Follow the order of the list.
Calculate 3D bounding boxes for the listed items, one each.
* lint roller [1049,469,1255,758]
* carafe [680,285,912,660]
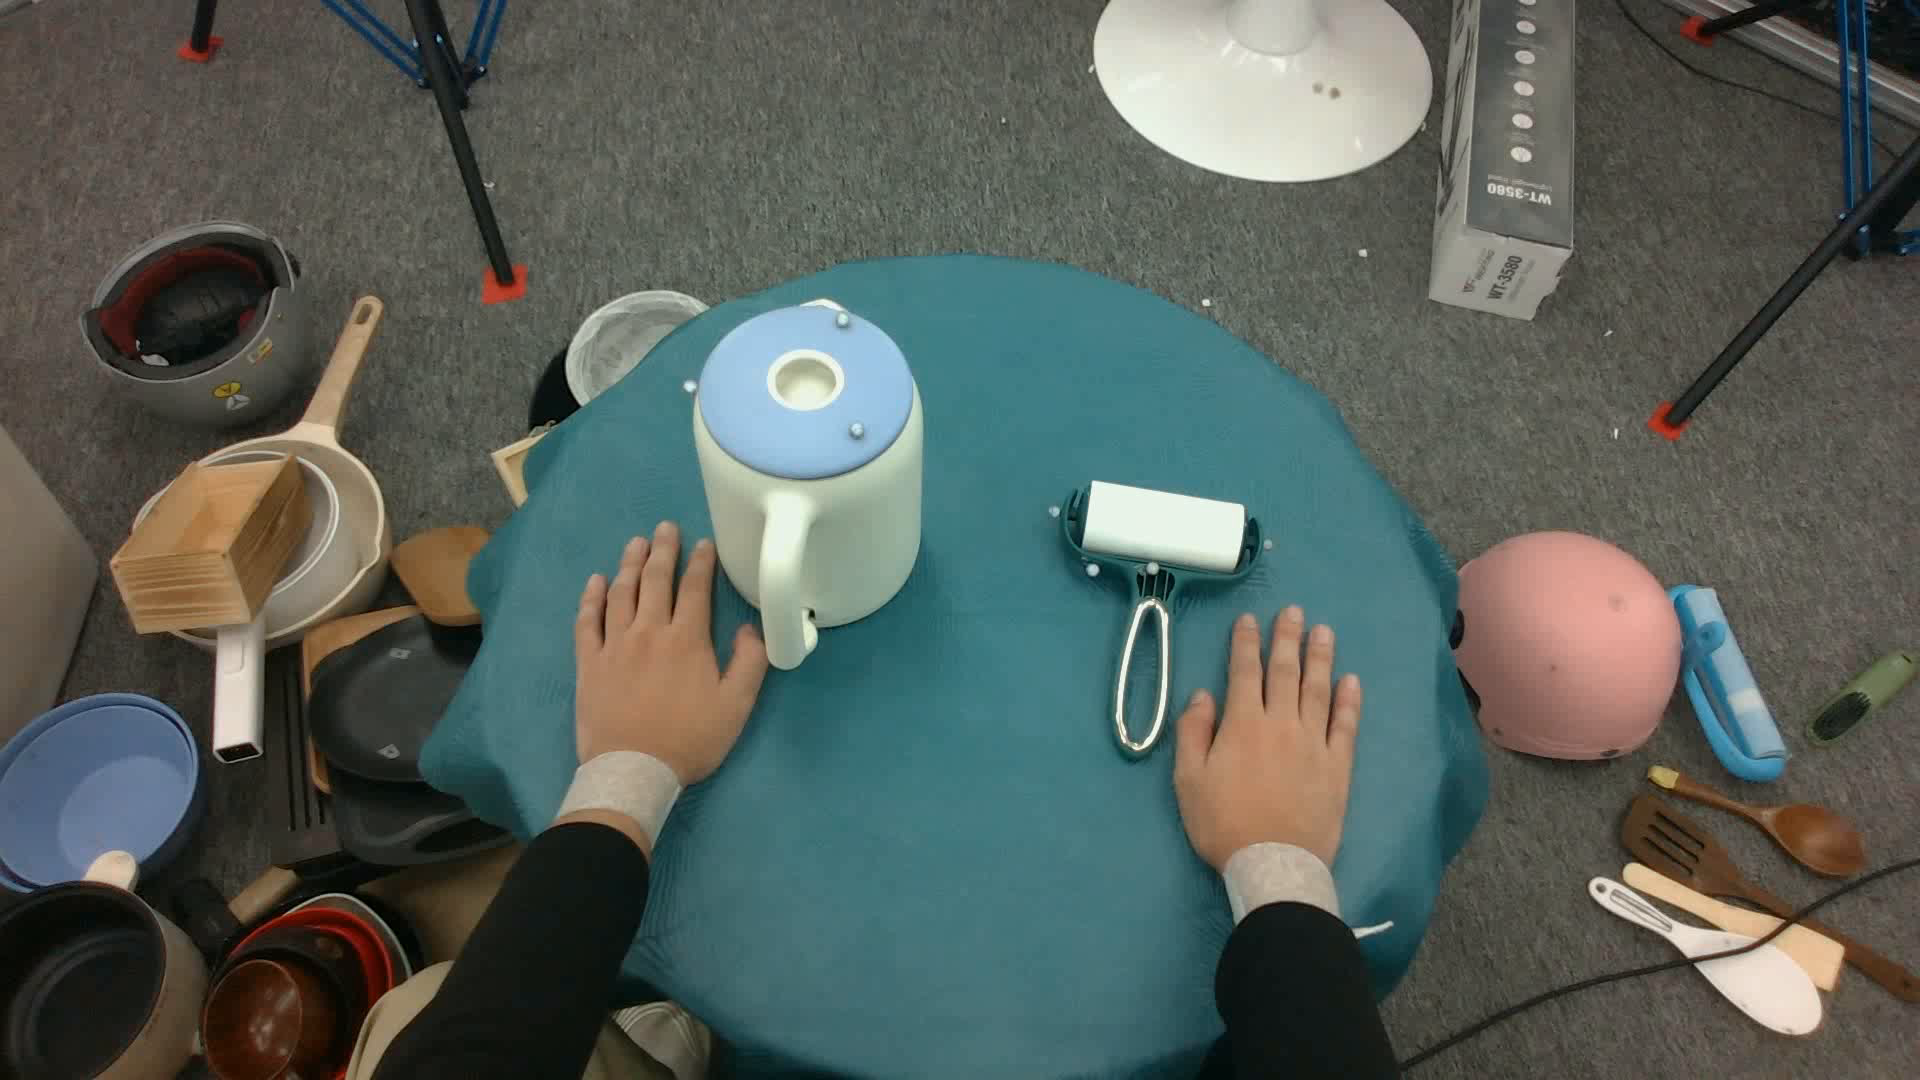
[{"bbox_3d":[0.113,0.044,0.860,0.134,0.048,0.181,9,61,2],"label":"lint roller"},{"bbox_3d":[-0.097,-0.027,0.814,0.132,0.182,0.192,4,61,0],"label":"carafe"}]
